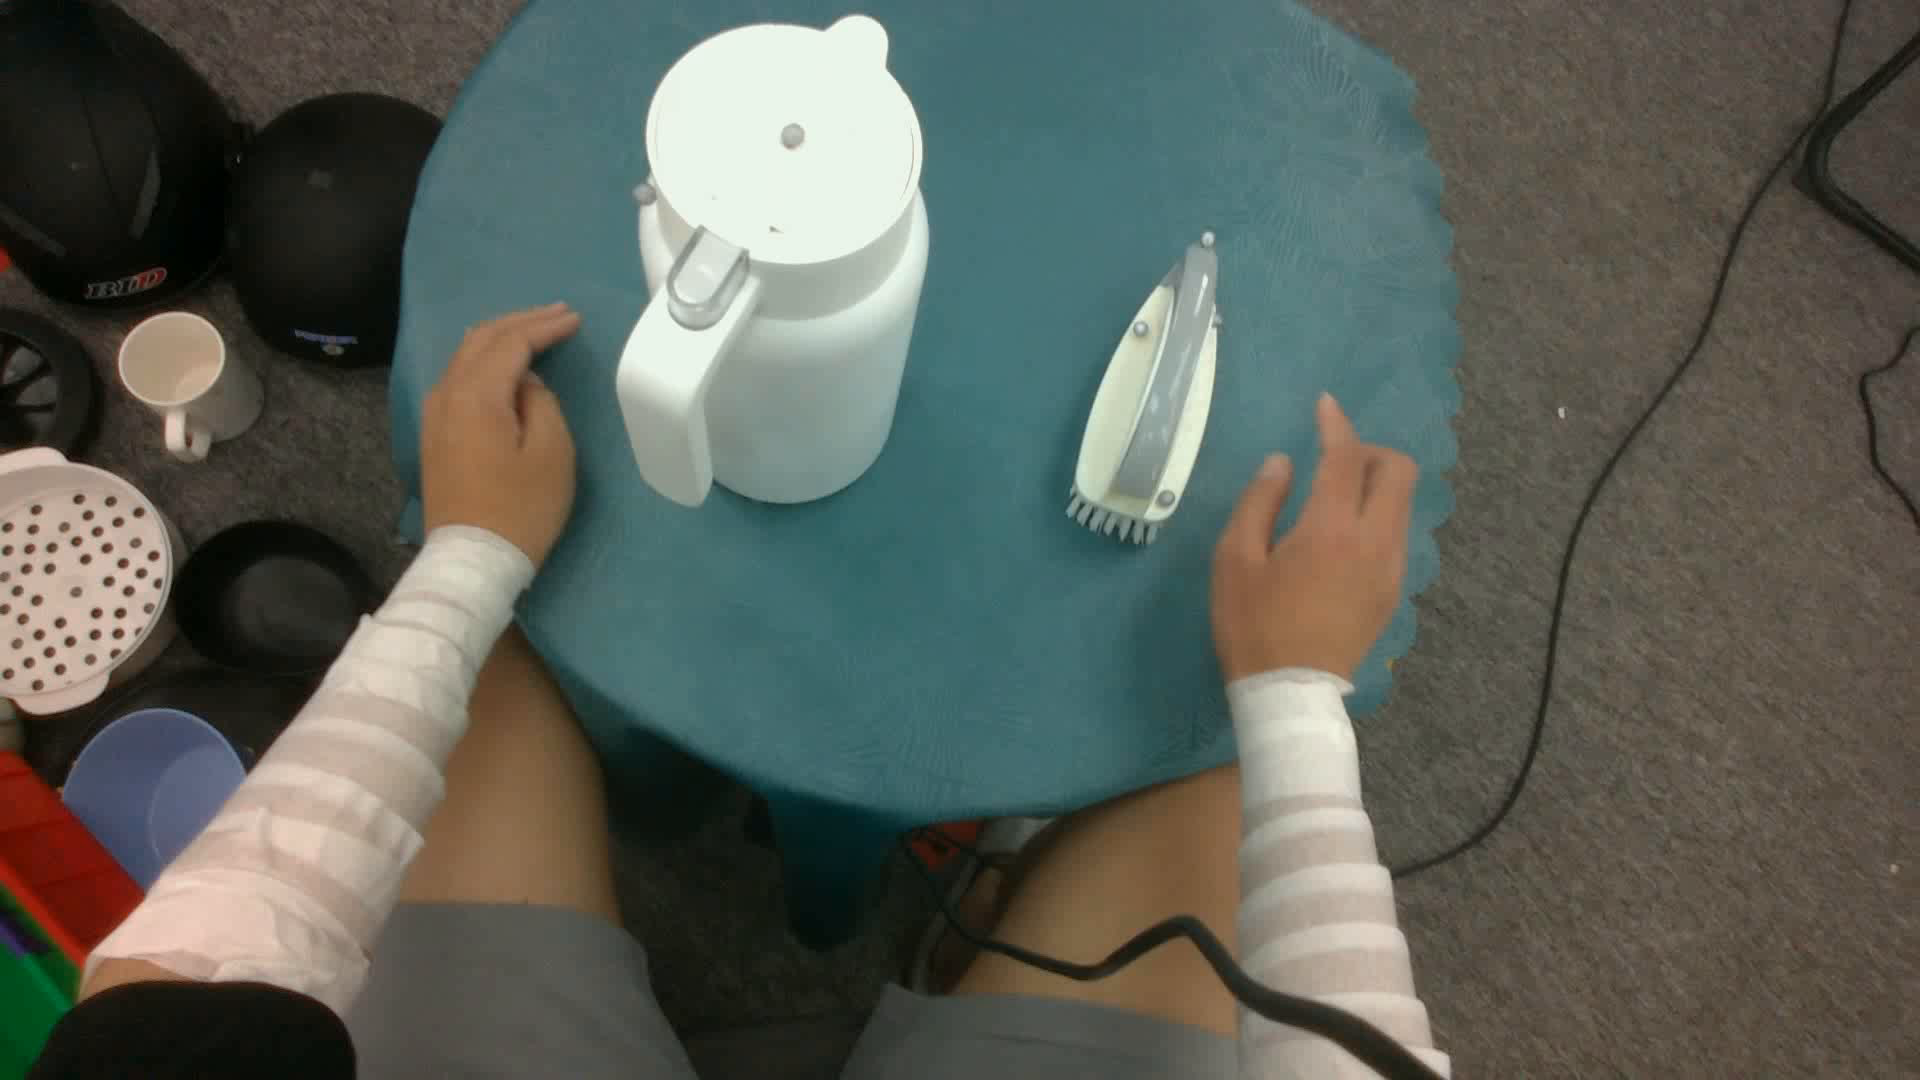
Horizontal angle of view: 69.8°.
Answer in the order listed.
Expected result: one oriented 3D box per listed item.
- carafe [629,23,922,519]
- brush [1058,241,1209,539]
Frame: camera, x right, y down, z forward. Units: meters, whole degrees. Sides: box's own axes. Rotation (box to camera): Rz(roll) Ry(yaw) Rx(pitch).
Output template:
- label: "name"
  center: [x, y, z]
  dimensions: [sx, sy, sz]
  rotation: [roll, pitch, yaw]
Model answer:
- label: "carafe"
  center: [-0.087, -0.090, 0.630]
  dimensions: [0.124, 0.268, 0.173]
  rotation: [25, 73, -2]
- label: "brush"
  center: [0.106, -0.095, 0.748]
  dimensions: [0.061, 0.094, 0.176]
  rotation: [19, 70, -4]
